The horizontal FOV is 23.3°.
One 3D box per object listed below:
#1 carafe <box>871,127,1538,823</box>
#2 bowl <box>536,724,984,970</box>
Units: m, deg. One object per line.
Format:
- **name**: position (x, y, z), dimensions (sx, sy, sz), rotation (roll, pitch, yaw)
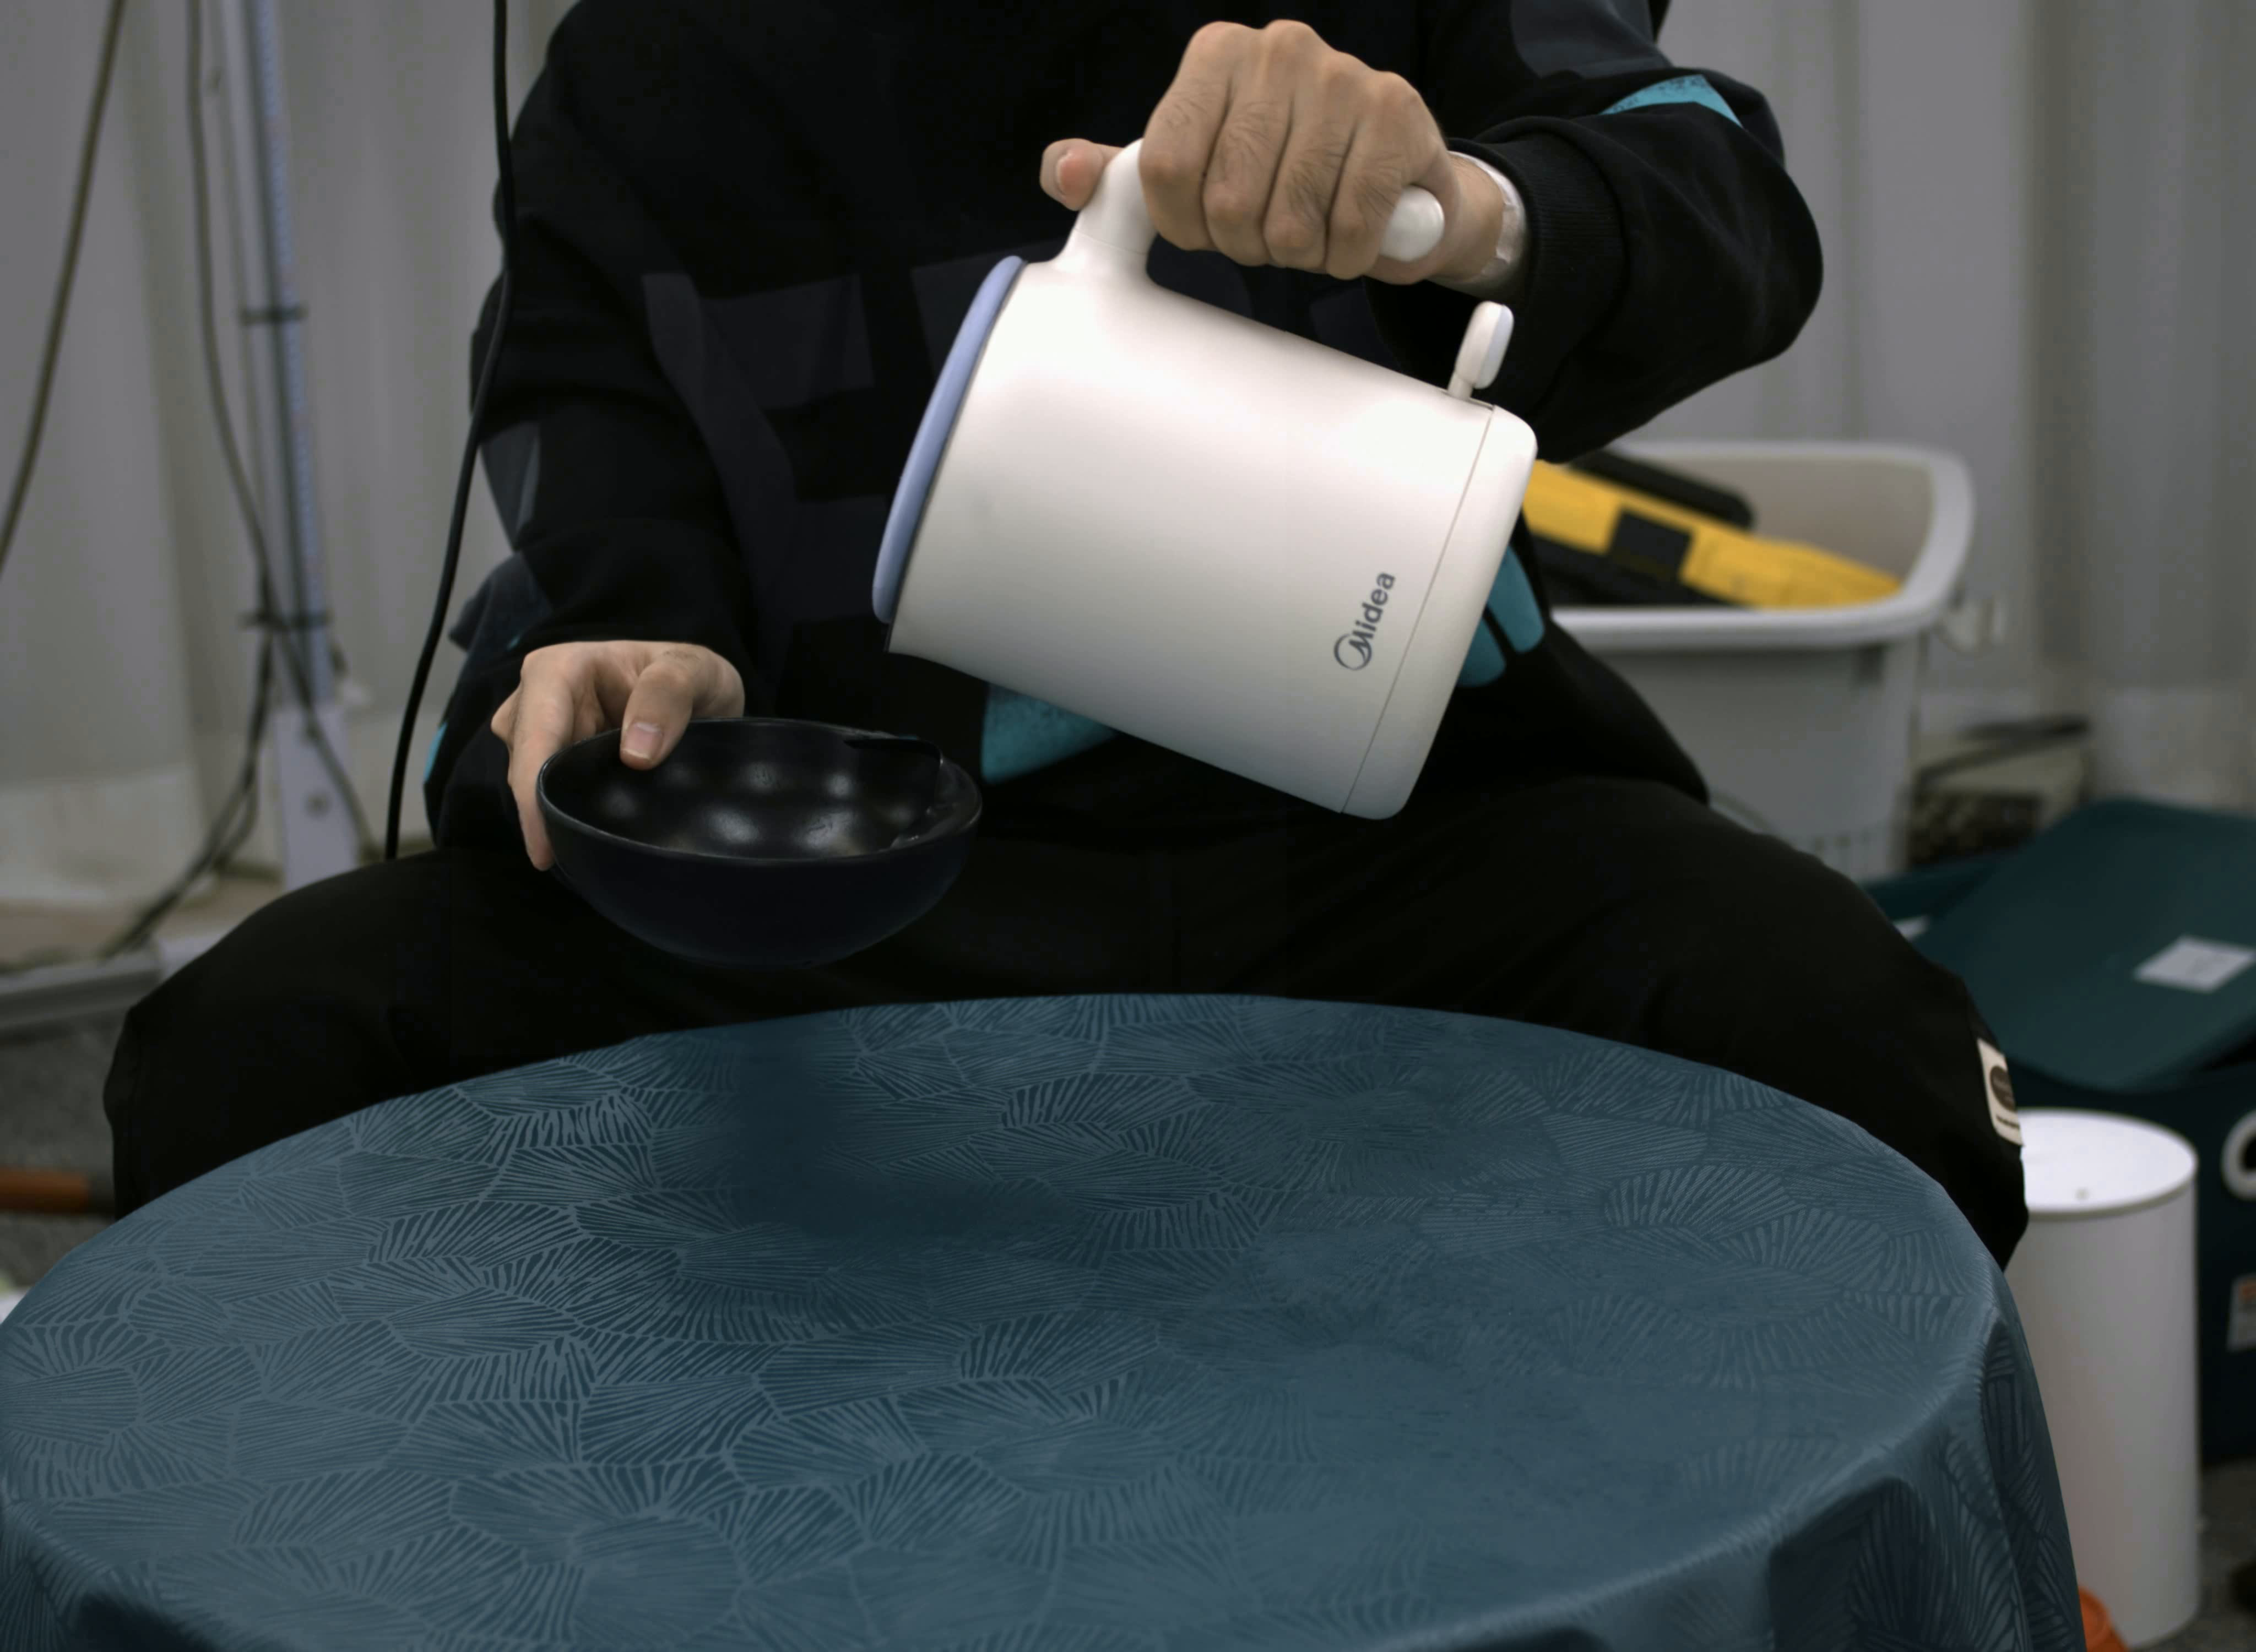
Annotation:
- **carafe**: position (0.032, -0.111, 1.652), dimensions (0.182, 0.191, 0.132), rotation (23, 8, 0)
- **bowl**: position (-0.114, 0.011, 1.697), dimensions (0.139, 0.049, 0.141), rotation (2, 17, -1)
